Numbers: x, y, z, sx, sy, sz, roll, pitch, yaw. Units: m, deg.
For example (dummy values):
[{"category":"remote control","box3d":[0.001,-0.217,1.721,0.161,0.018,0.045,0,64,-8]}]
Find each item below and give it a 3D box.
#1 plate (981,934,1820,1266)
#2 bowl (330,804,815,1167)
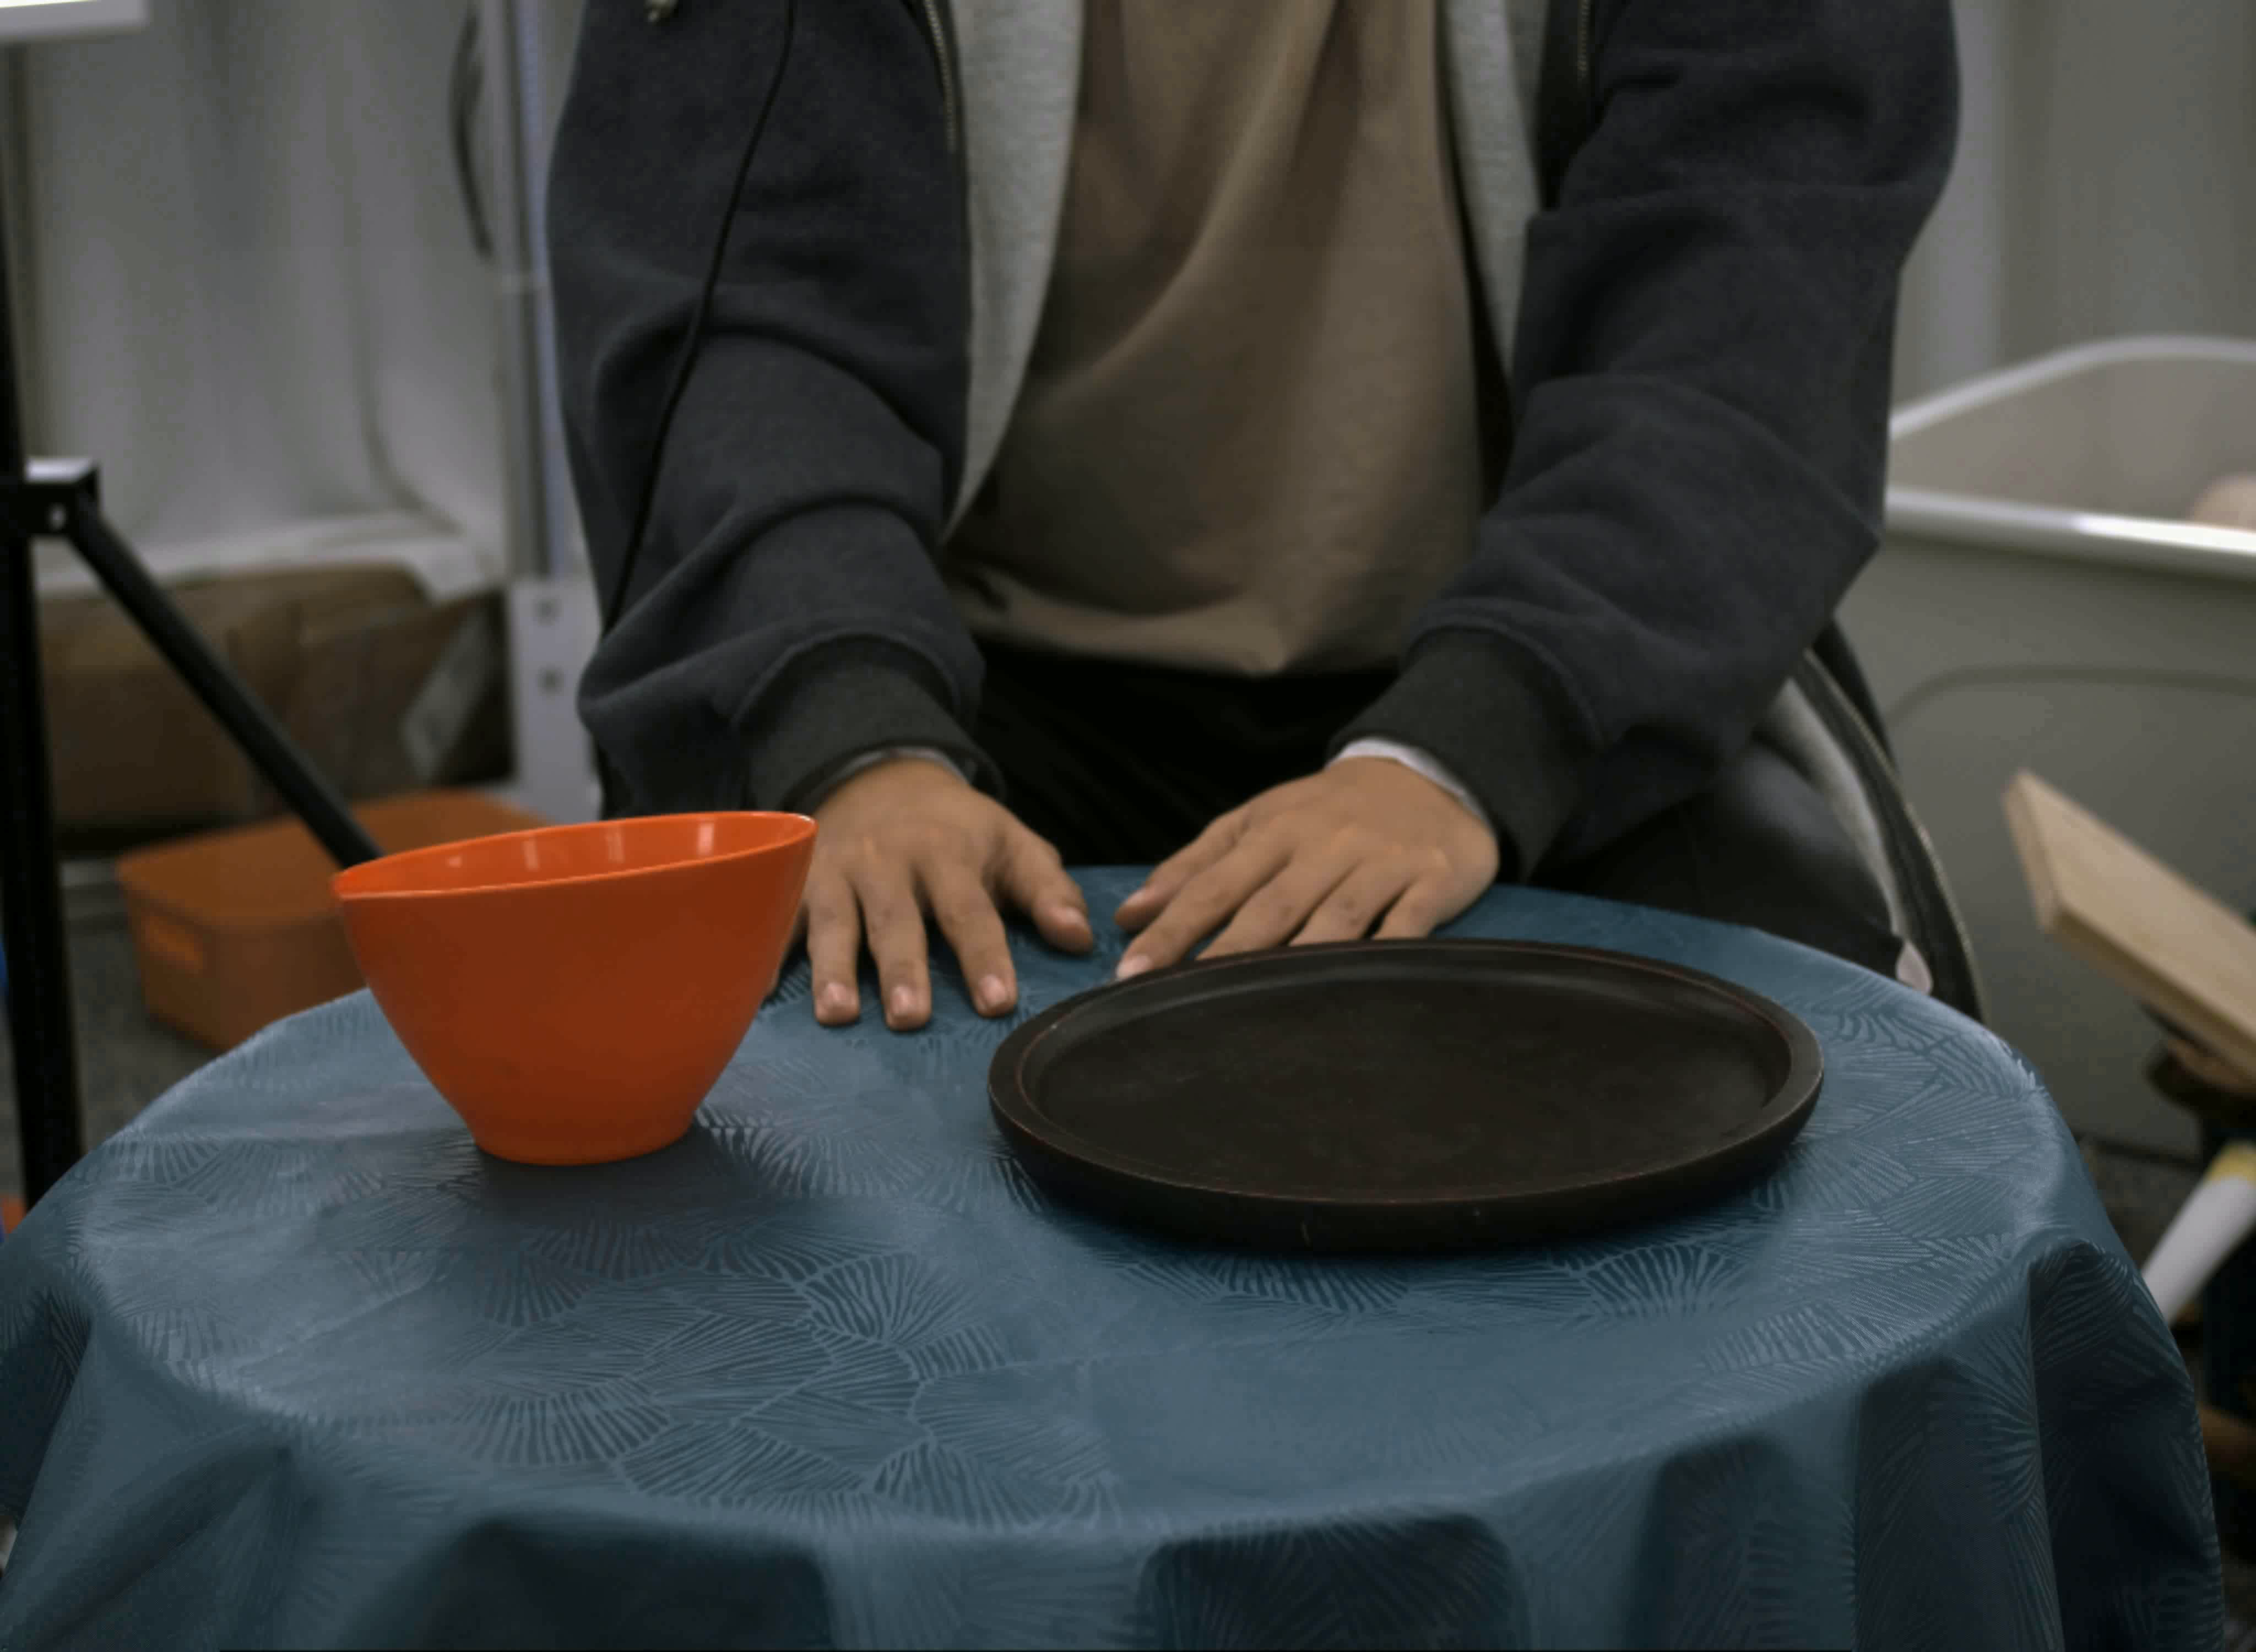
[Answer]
[{"category":"plate","box3d":[0.082,0.080,1.602,0.253,0.029,0.256,-4,16,0]},{"category":"bowl","box3d":[-0.165,0.047,1.616,0.147,0.104,0.149,-4,16,0]}]
